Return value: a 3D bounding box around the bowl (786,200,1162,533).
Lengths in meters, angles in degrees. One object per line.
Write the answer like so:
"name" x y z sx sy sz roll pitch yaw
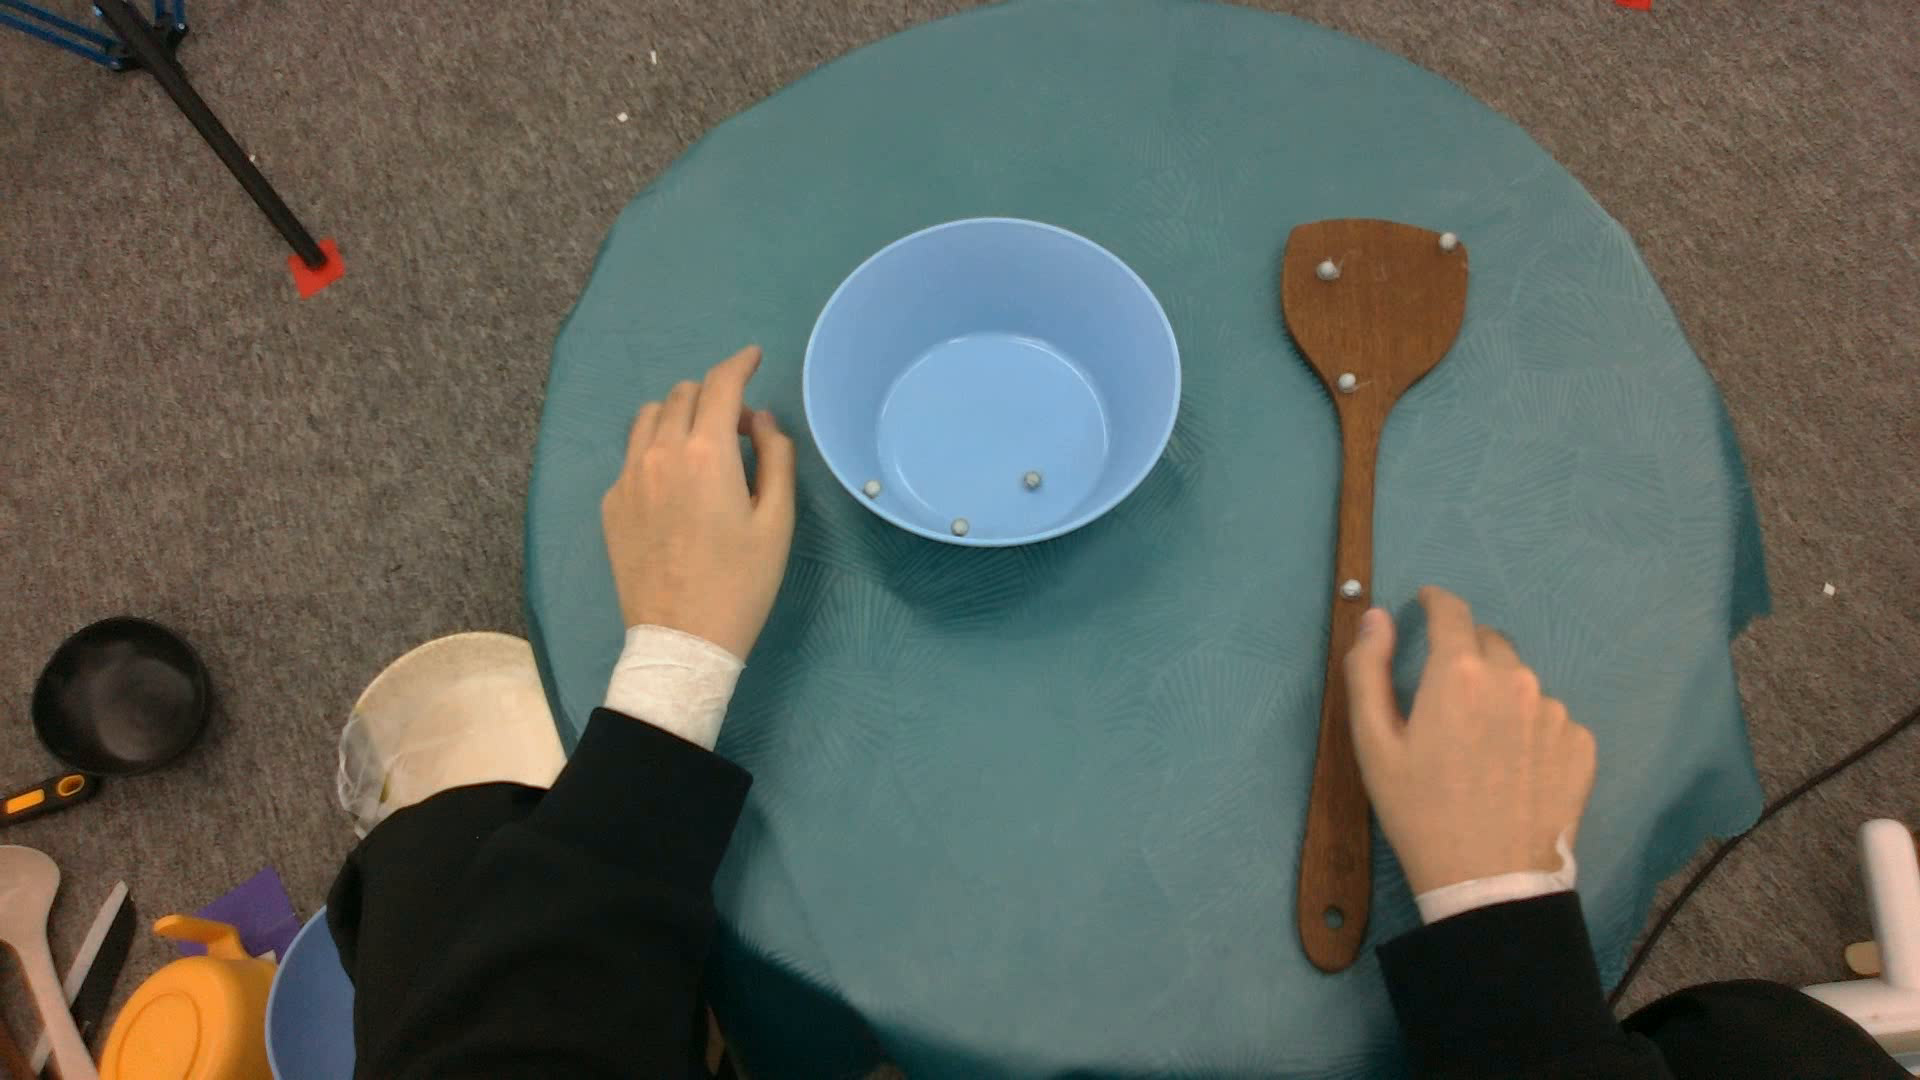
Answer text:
"bowl" 0.007 -0.073 0.669 0.176 0.070 0.176 -1 67 2

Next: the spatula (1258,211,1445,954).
"spatula" 0.181 0.001 0.663 0.096 0.016 0.387 8 67 5
